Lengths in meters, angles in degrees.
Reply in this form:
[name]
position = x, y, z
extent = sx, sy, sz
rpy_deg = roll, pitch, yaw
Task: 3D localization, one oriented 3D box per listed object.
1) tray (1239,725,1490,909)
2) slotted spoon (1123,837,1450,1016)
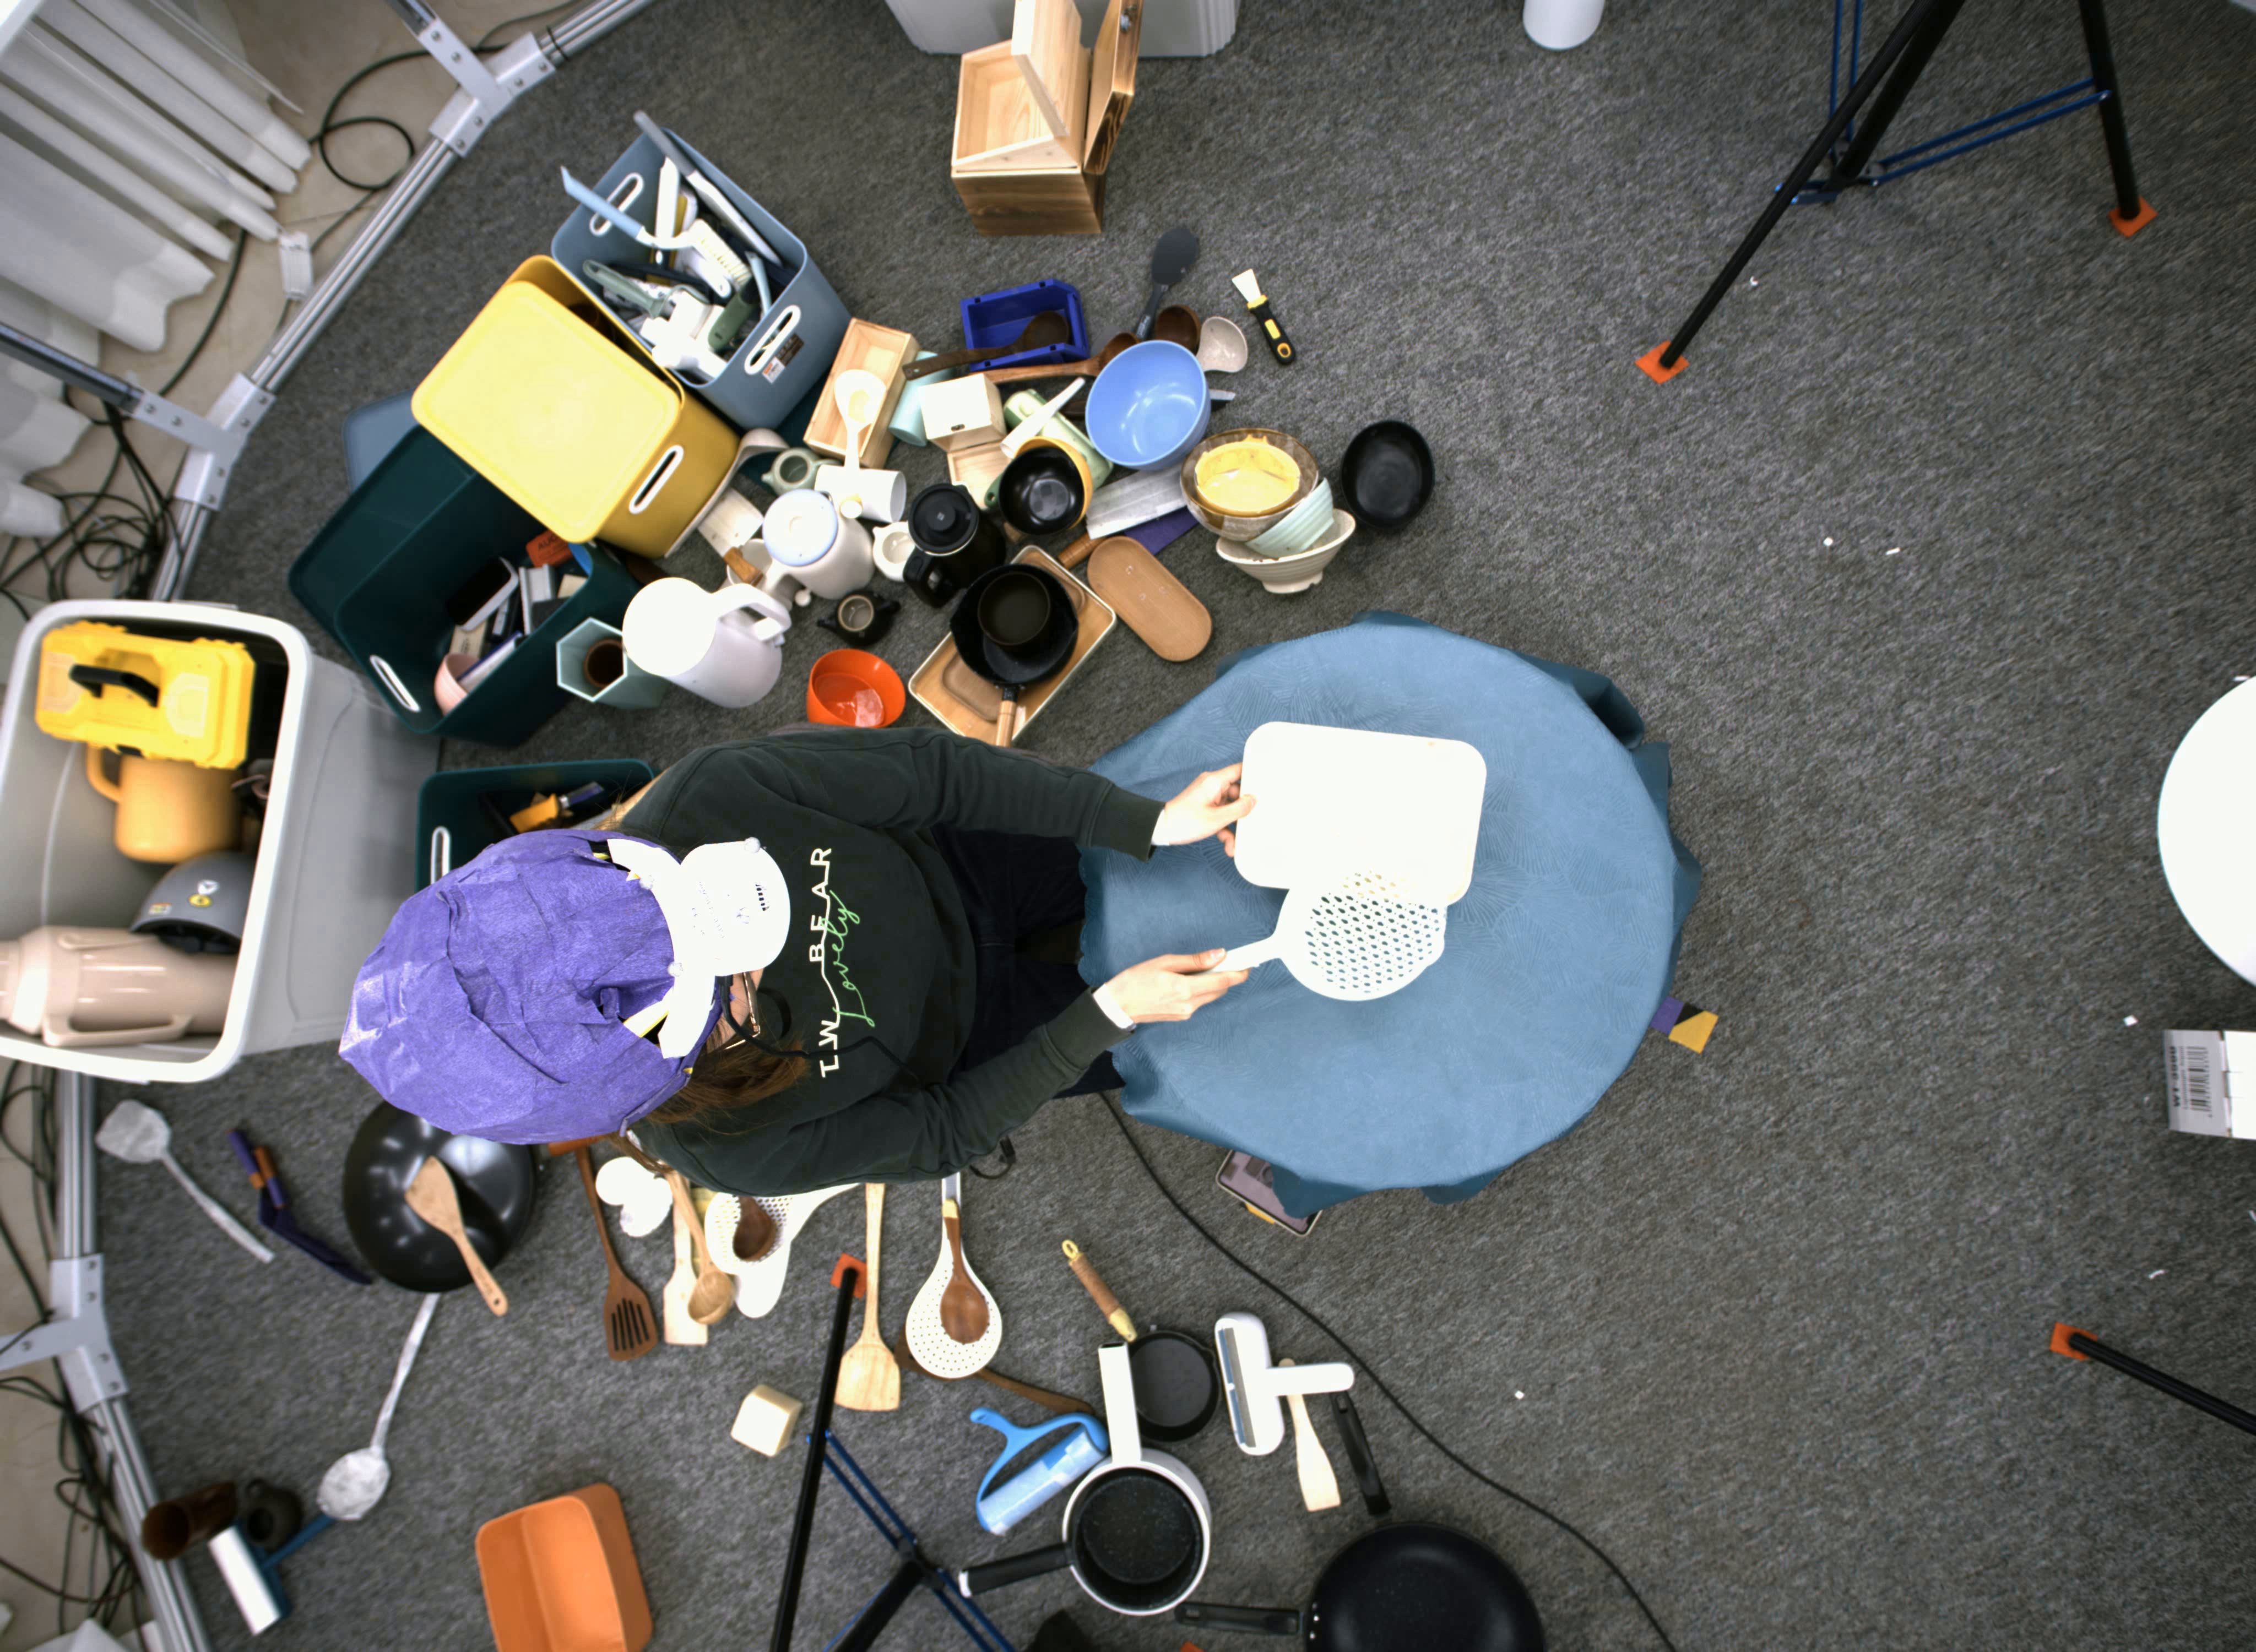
[tray]
position = 0.236, -0.011, 1.391
extent = 0.240, 0.017, 0.173
rpy_deg = 7, 105, 8
[slotted spoon]
position = 0.149, 0.127, 1.382
extent = 0.362, 0.076, 0.165
rpy_deg = -17, 53, 16
